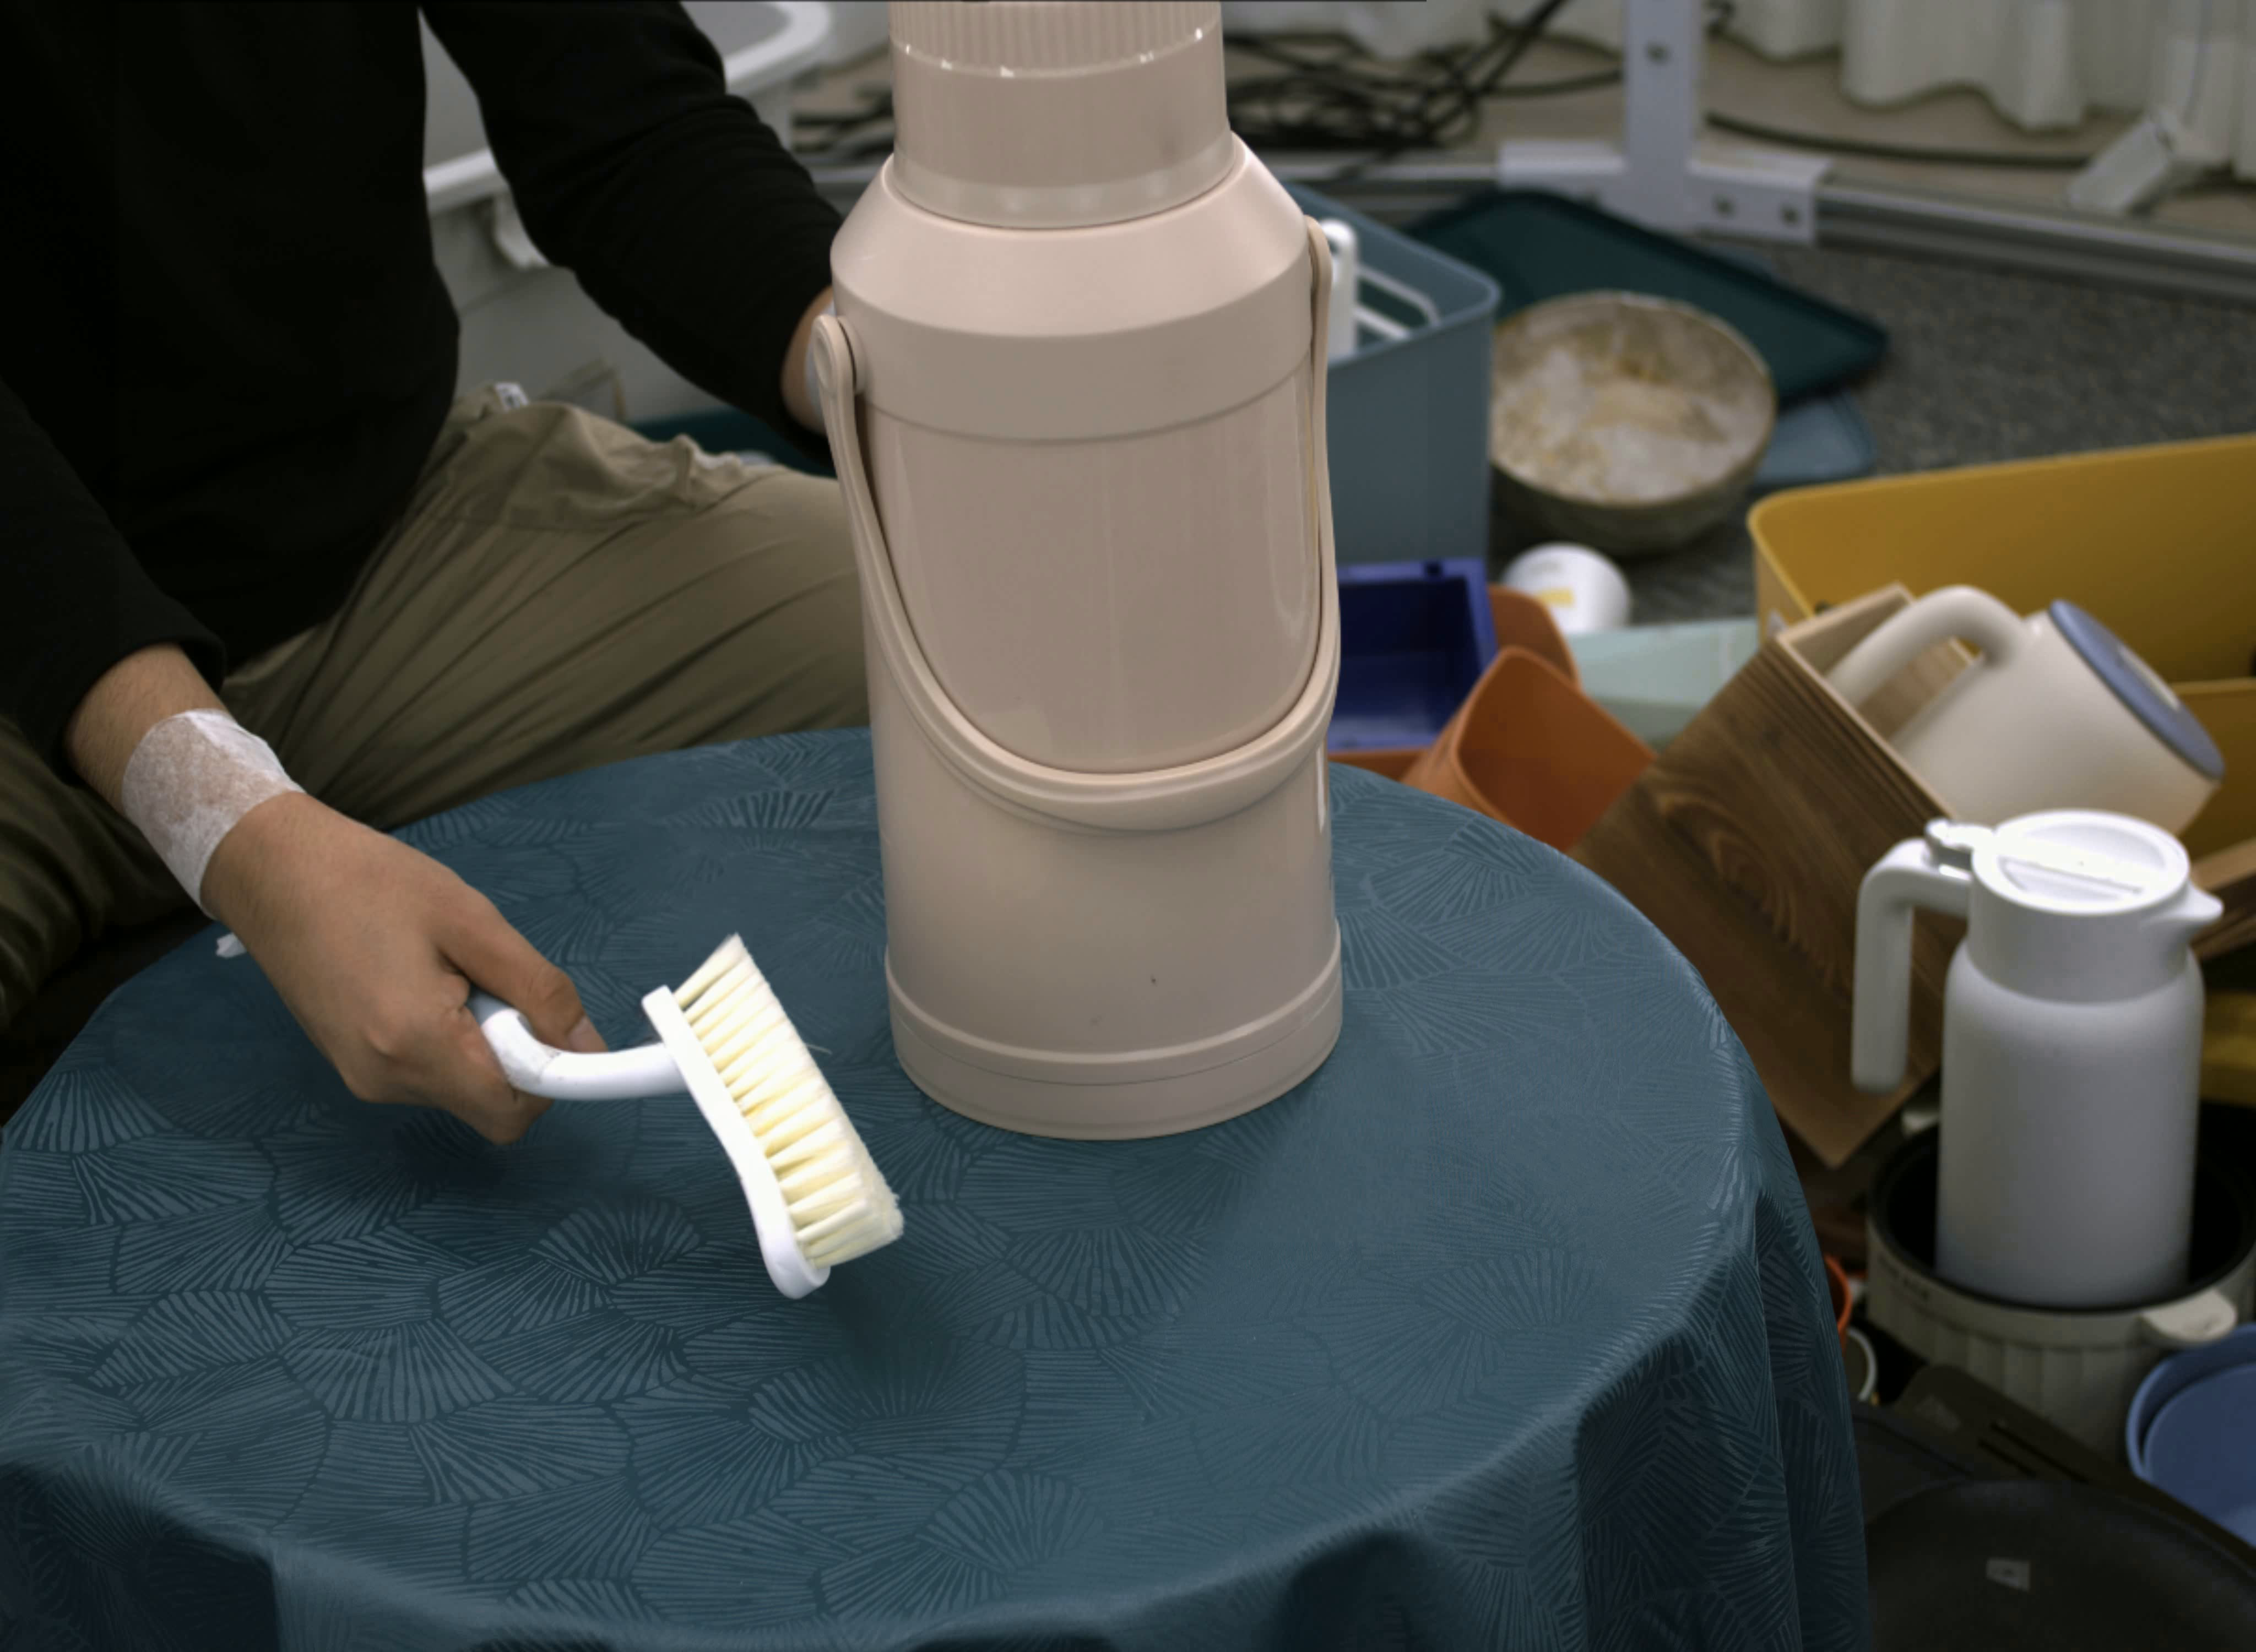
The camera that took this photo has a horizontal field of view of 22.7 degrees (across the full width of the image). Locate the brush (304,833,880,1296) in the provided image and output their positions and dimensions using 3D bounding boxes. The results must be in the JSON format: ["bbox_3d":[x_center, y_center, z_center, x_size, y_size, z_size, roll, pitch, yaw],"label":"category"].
[{"bbox_3d":[-0.170,0.053,1.856,0.085,0.082,0.326,-4,25,-35],"label":"brush"}]

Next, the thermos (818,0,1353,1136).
[{"bbox_3d":[-0.016,-0.113,1.889,0.176,0.402,0.208,-15,29,-19],"label":"thermos"}]
